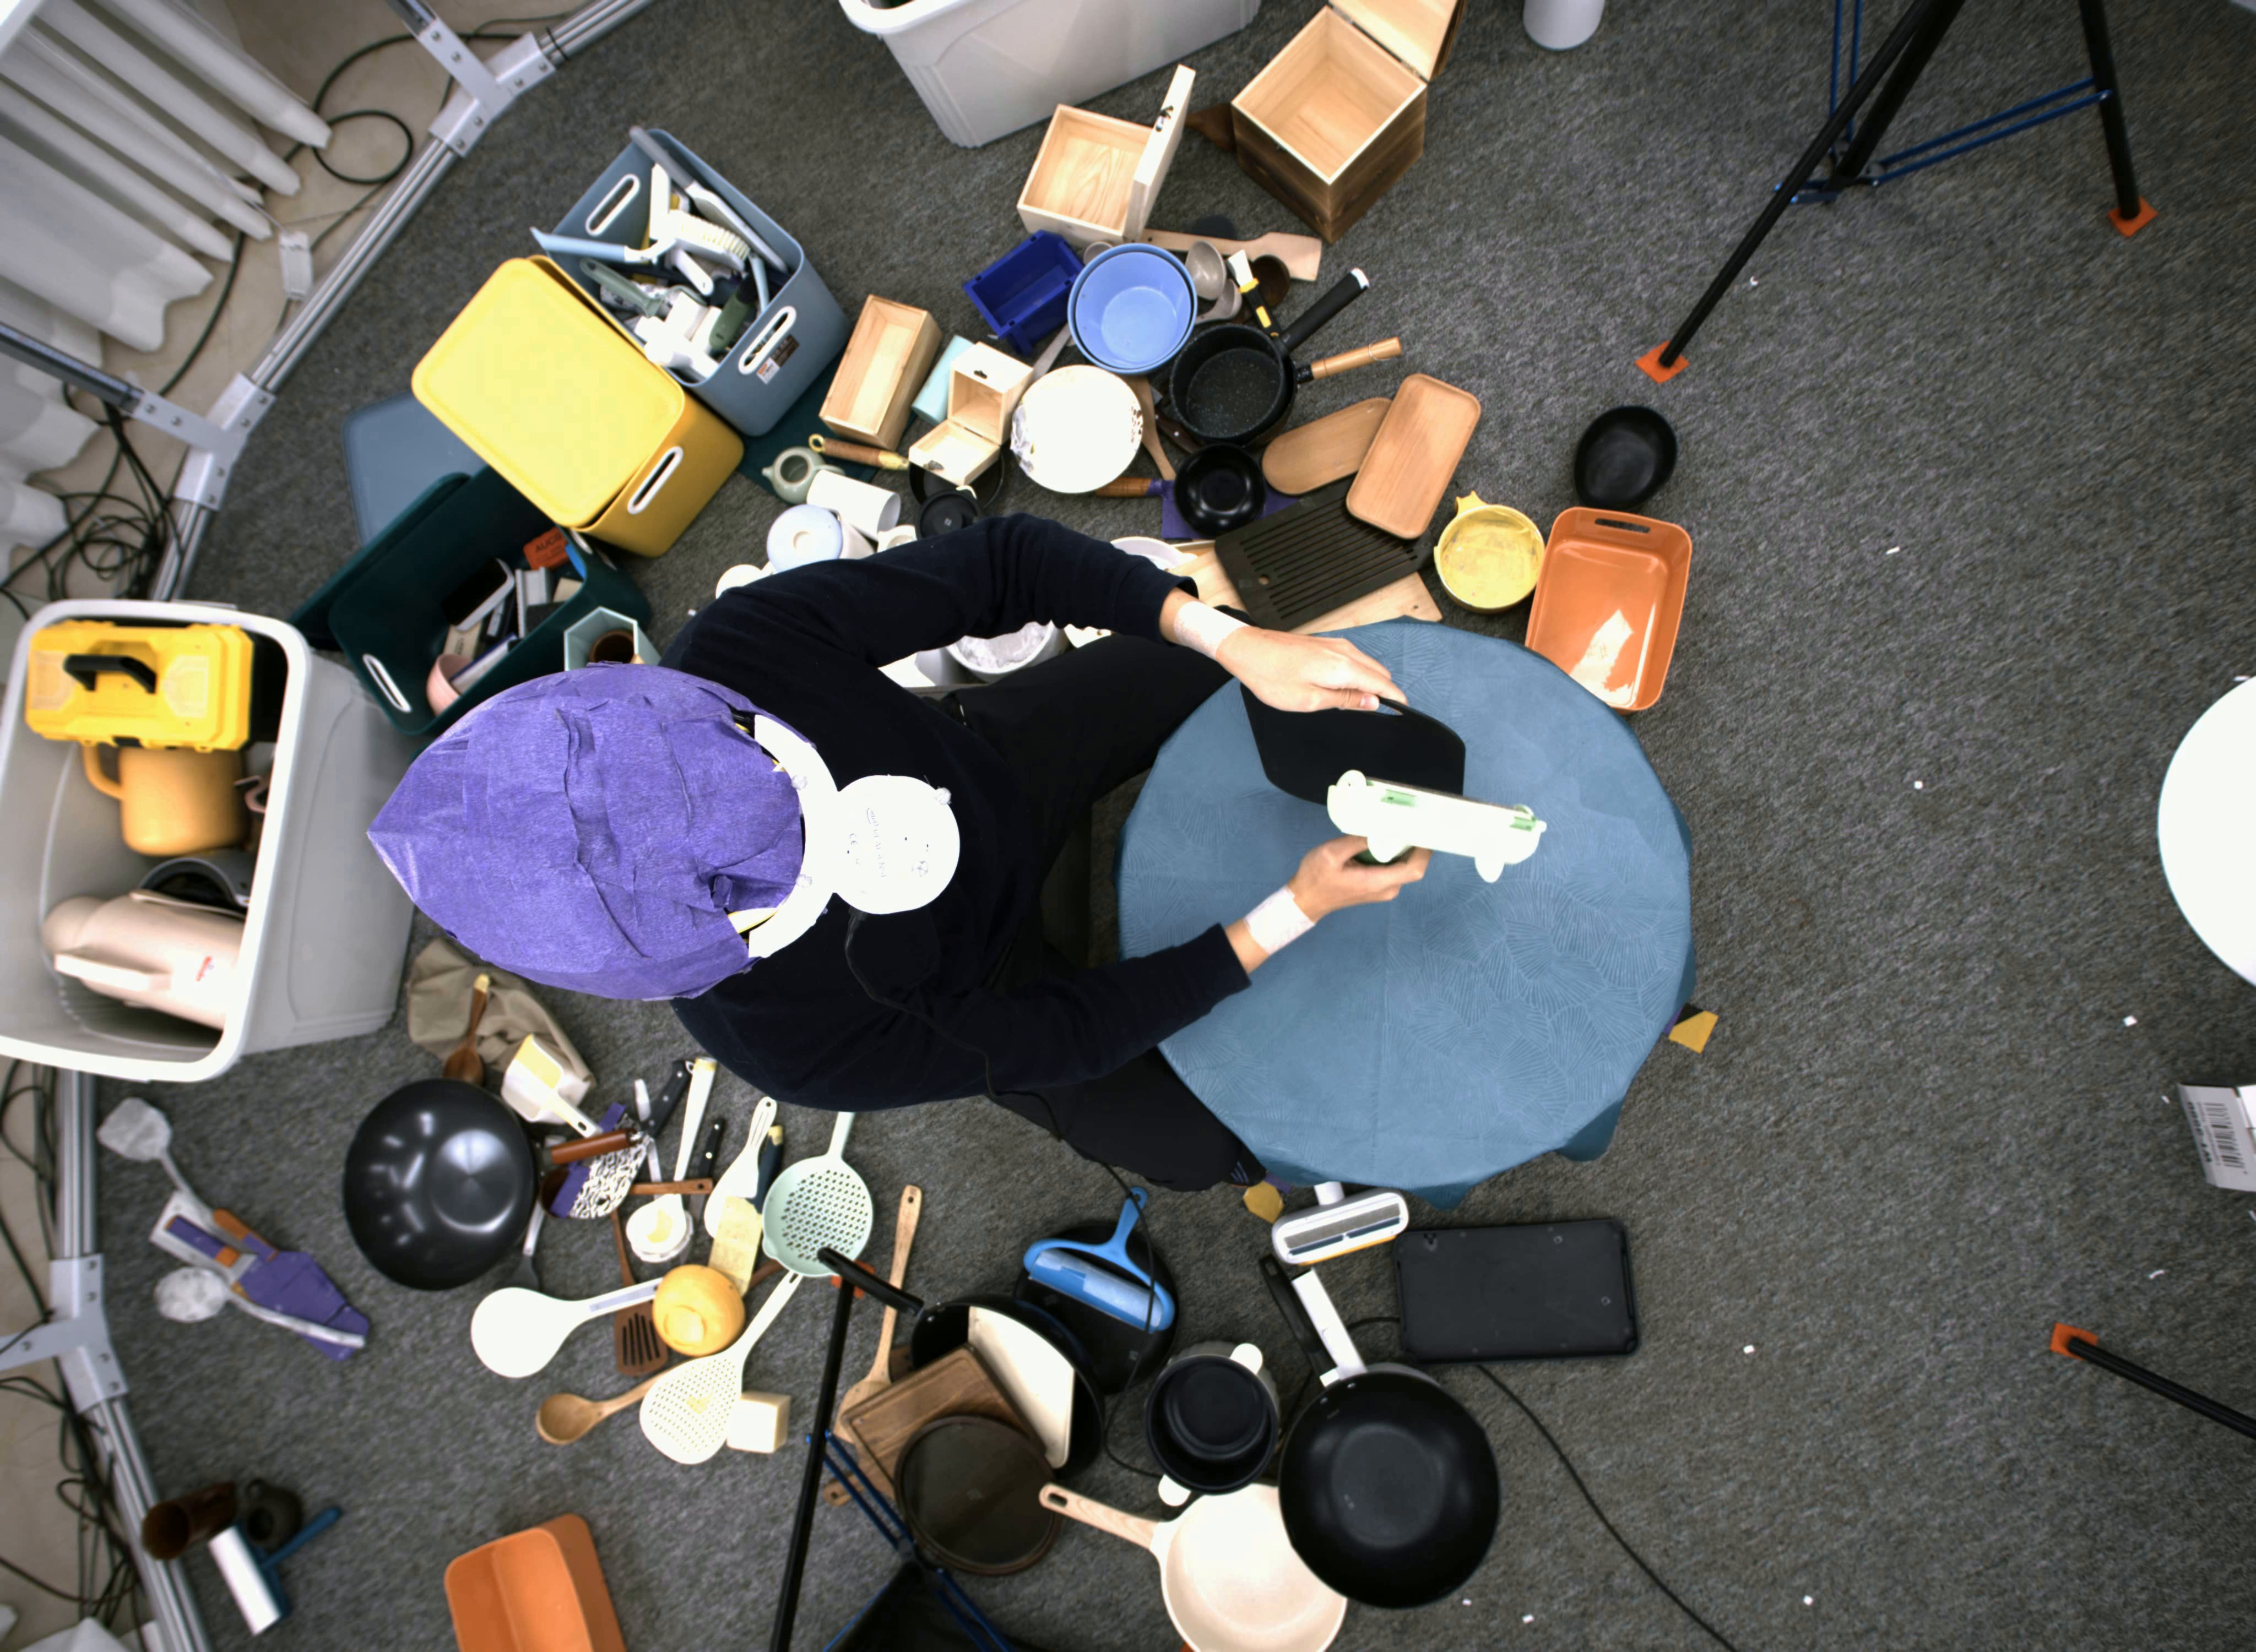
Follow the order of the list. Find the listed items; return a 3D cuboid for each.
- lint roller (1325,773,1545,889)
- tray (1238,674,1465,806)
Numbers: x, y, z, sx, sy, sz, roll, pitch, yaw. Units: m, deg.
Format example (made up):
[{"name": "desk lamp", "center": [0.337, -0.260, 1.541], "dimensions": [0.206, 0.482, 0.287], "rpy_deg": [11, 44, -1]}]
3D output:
[{"name": "lint roller", "center": [0.245, 0.030, 1.238], "dimensions": [0.198, 0.188, 0.080], "rpy_deg": [10, 54, -23]}, {"name": "tray", "center": [0.217, -0.066, 1.309], "dimensions": [0.211, 0.329, 0.009], "rpy_deg": [16, 75, 18]}]
